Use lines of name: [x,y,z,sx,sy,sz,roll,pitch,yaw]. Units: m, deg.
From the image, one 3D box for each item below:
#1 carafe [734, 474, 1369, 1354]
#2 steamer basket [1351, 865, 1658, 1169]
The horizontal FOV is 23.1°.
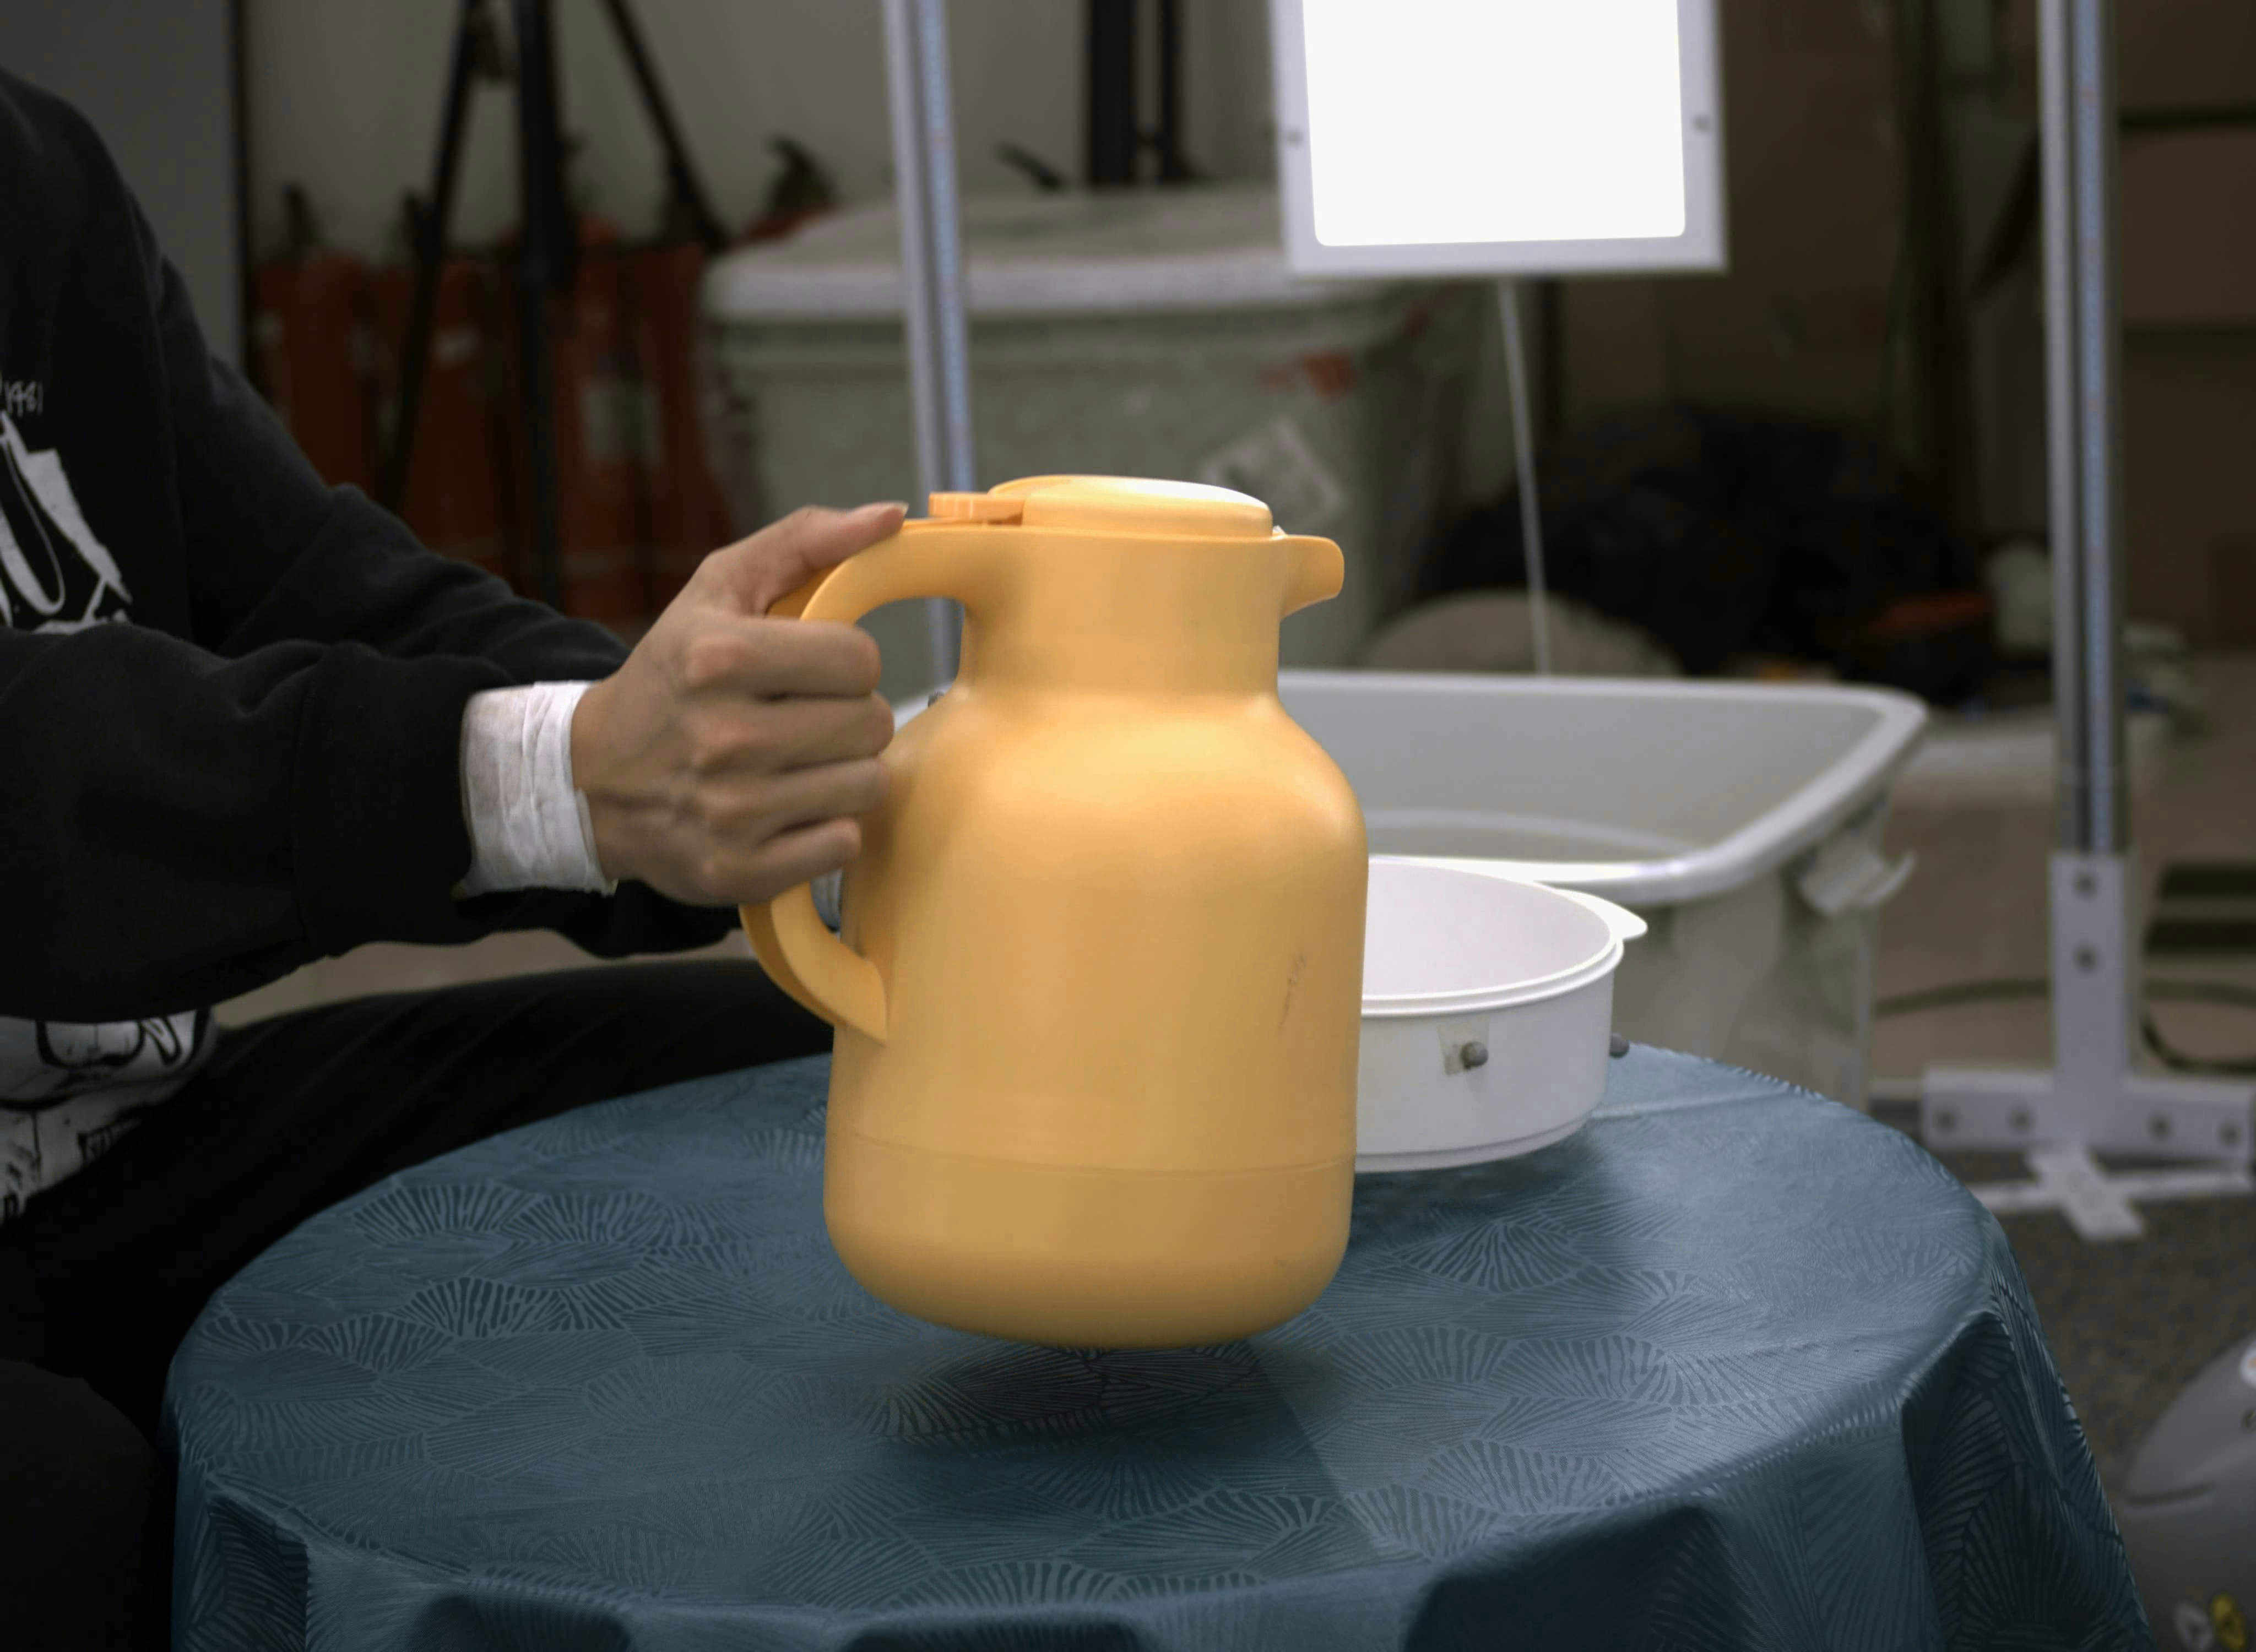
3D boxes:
carafe: [-0.025,0.023,1.672,0.198,0.261,0.166,1,5,-25]
steamer basket: [0.076,0.066,1.918,0.226,0.069,0.205,-3,13,-23]
